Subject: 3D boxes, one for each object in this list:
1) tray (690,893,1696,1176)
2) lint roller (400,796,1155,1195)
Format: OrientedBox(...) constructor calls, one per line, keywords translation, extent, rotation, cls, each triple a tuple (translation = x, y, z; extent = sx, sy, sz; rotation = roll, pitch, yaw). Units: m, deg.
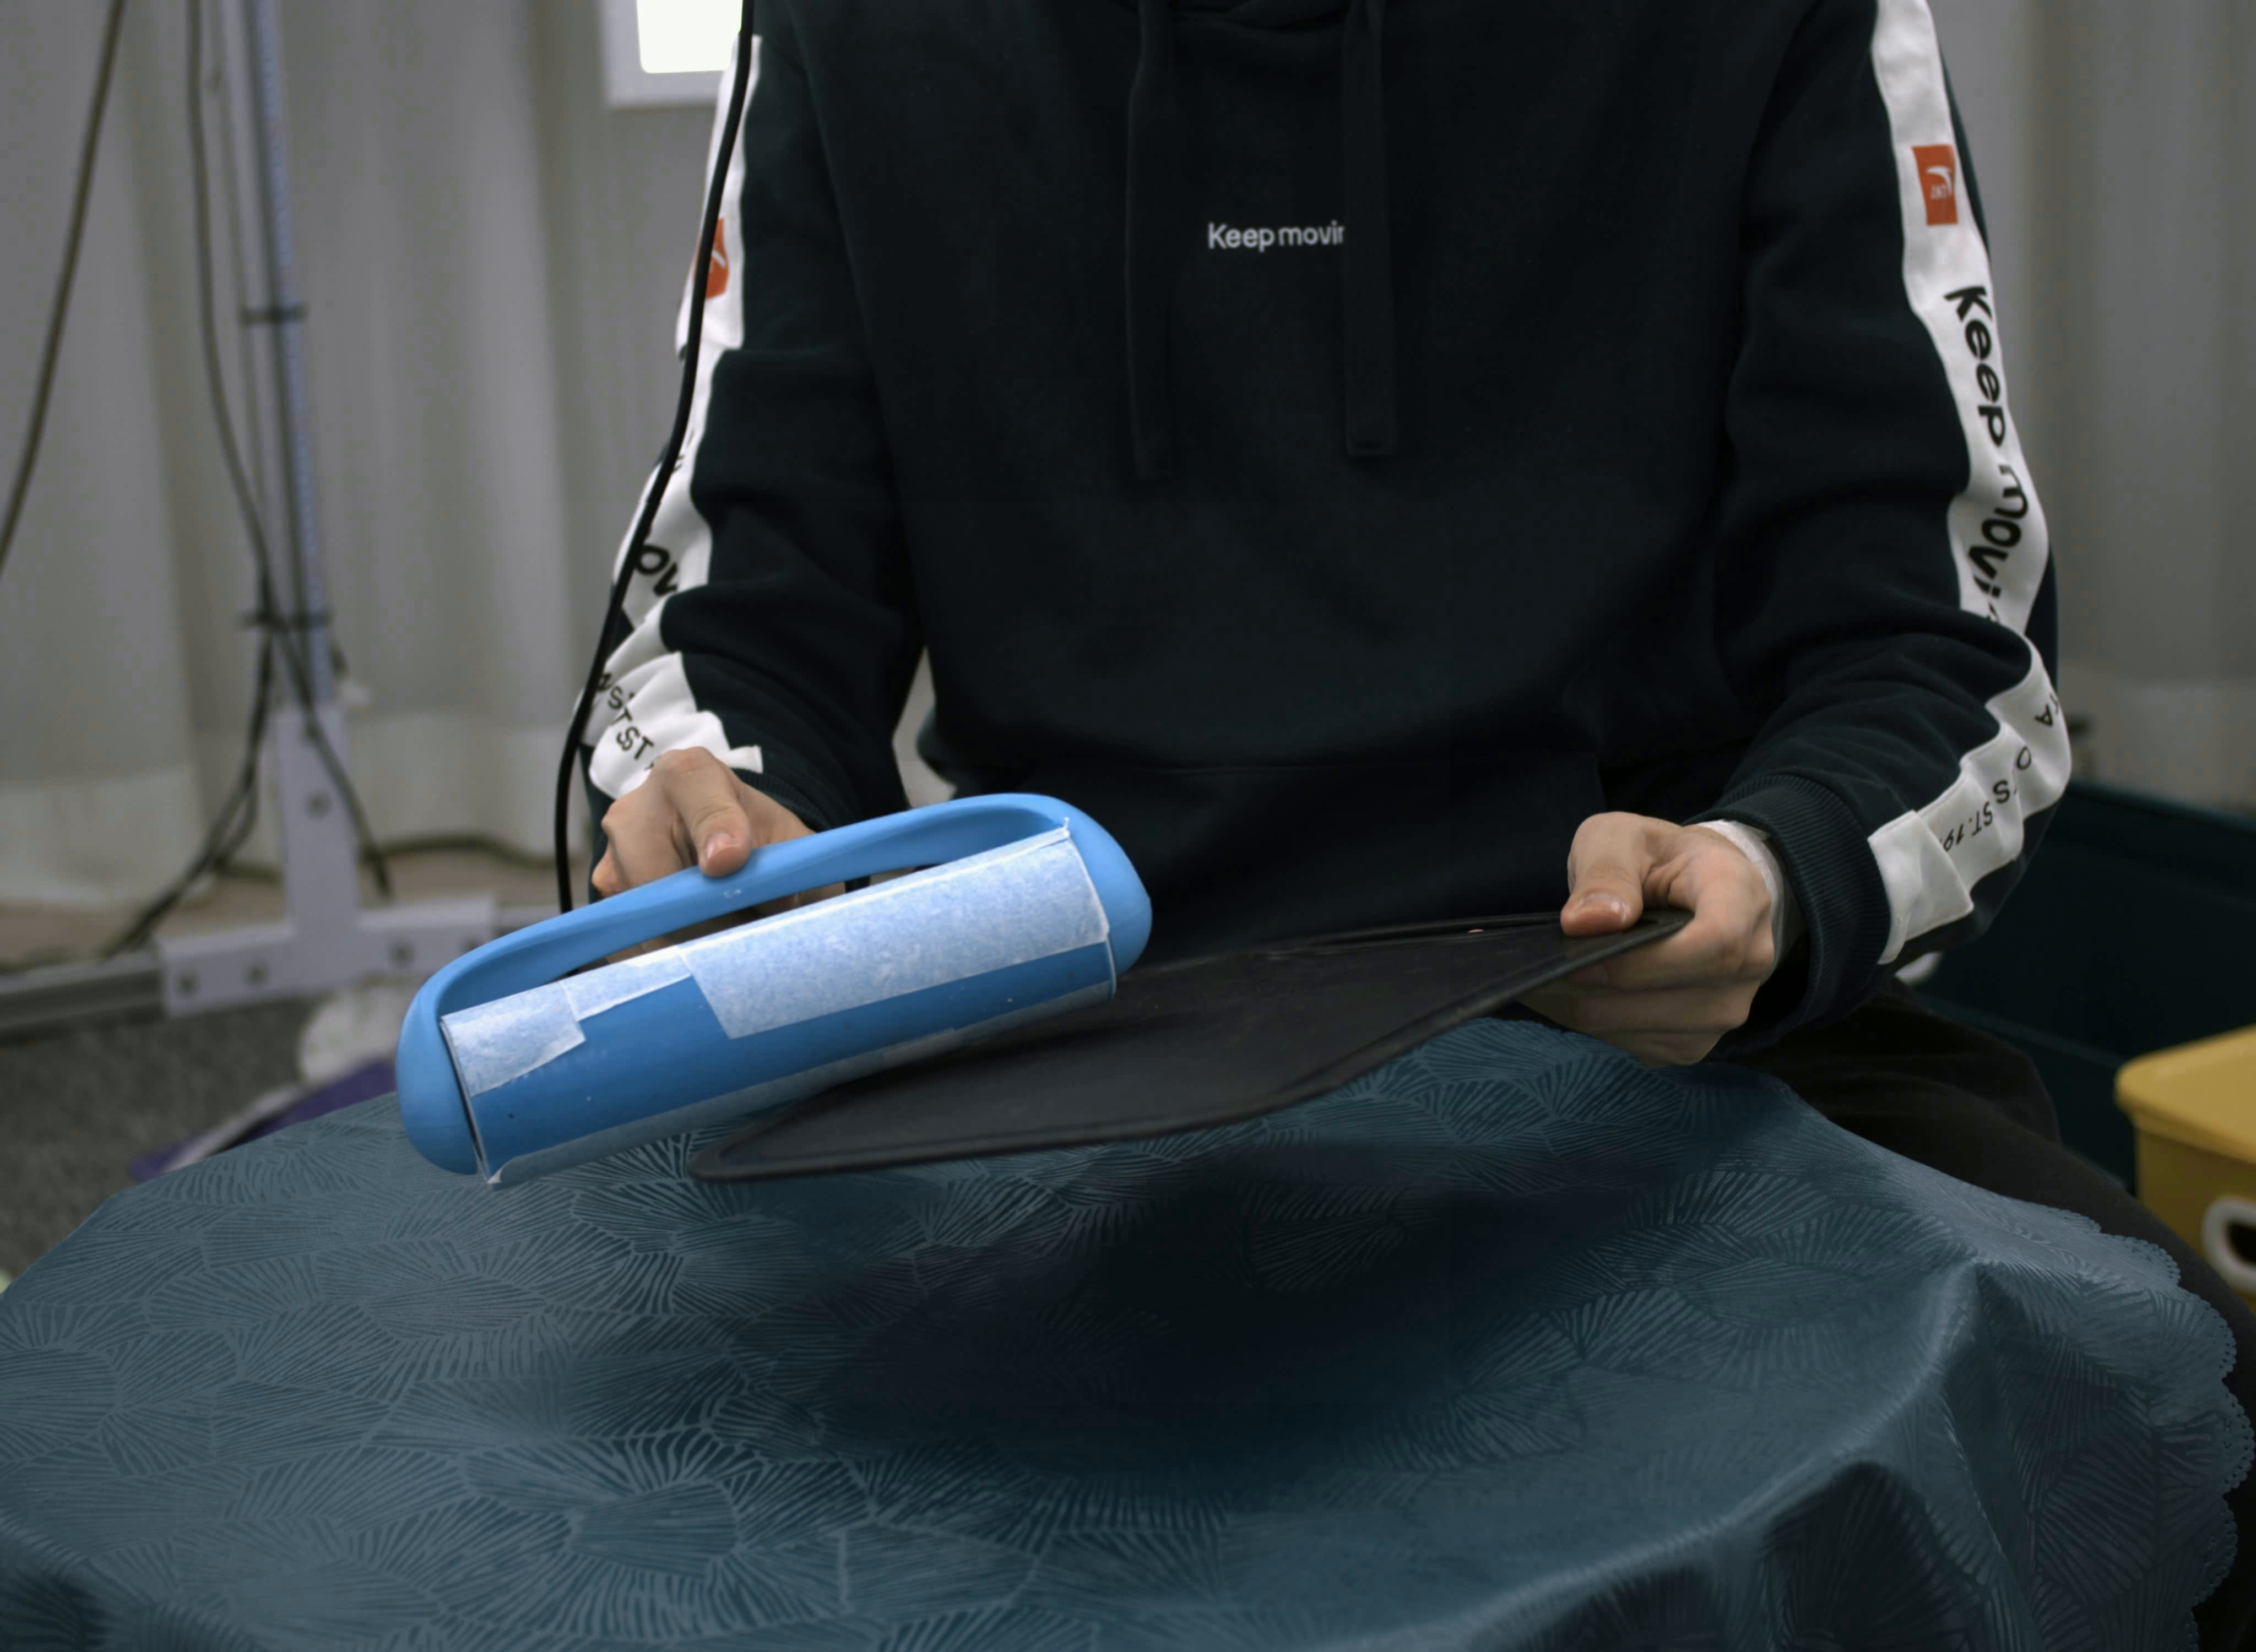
OrientedBox(translation=(0.028, 0.056, 1.597), extent=(0.211, 0.010, 0.325), rotation=(-7, 7, 32), cls="tray")
OrientedBox(translation=(-0.117, 0.041, 1.658), extent=(0.228, 0.067, 0.181), rotation=(-19, 15, -12), cls="lint roller")
